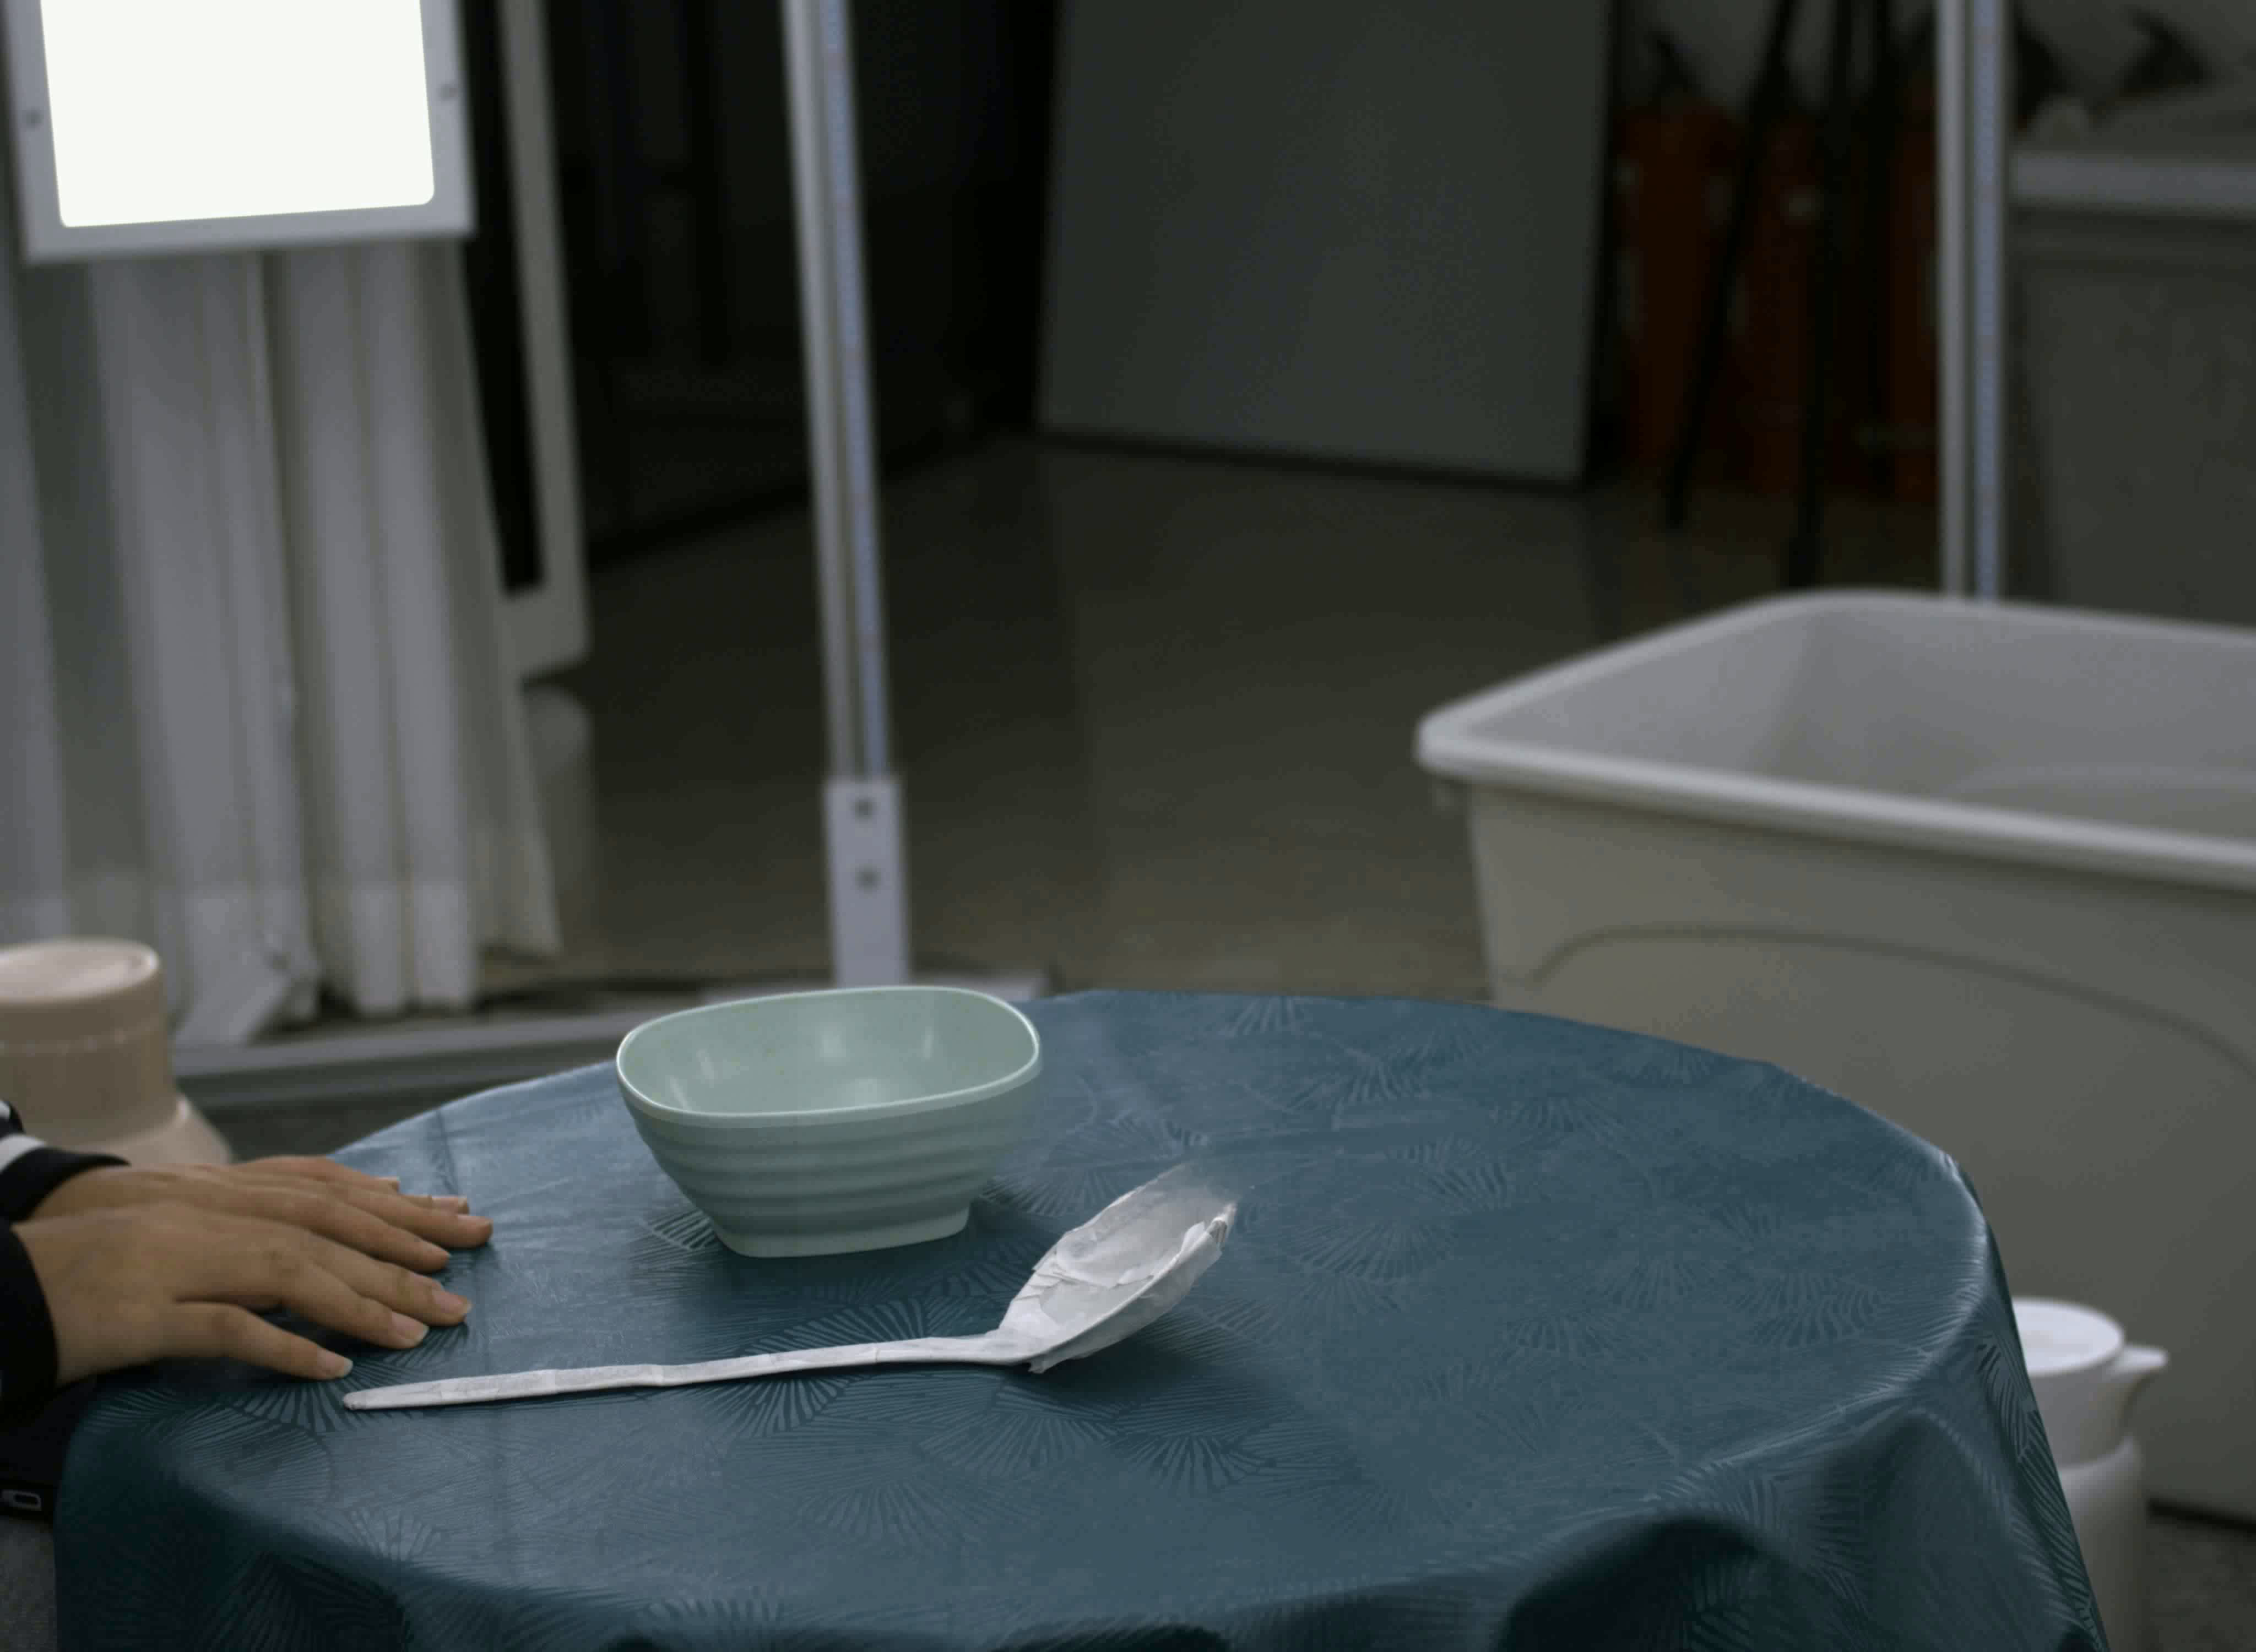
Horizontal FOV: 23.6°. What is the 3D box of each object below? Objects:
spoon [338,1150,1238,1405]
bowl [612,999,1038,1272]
[{"bbox_3d":[-0.102,0.135,1.624,0.274,0.060,0.100,-4,9,3],"label":"spoon"},{"bbox_3d":[-0.097,0.104,1.761,0.149,0.059,0.152,-4,14,0],"label":"bowl"}]
